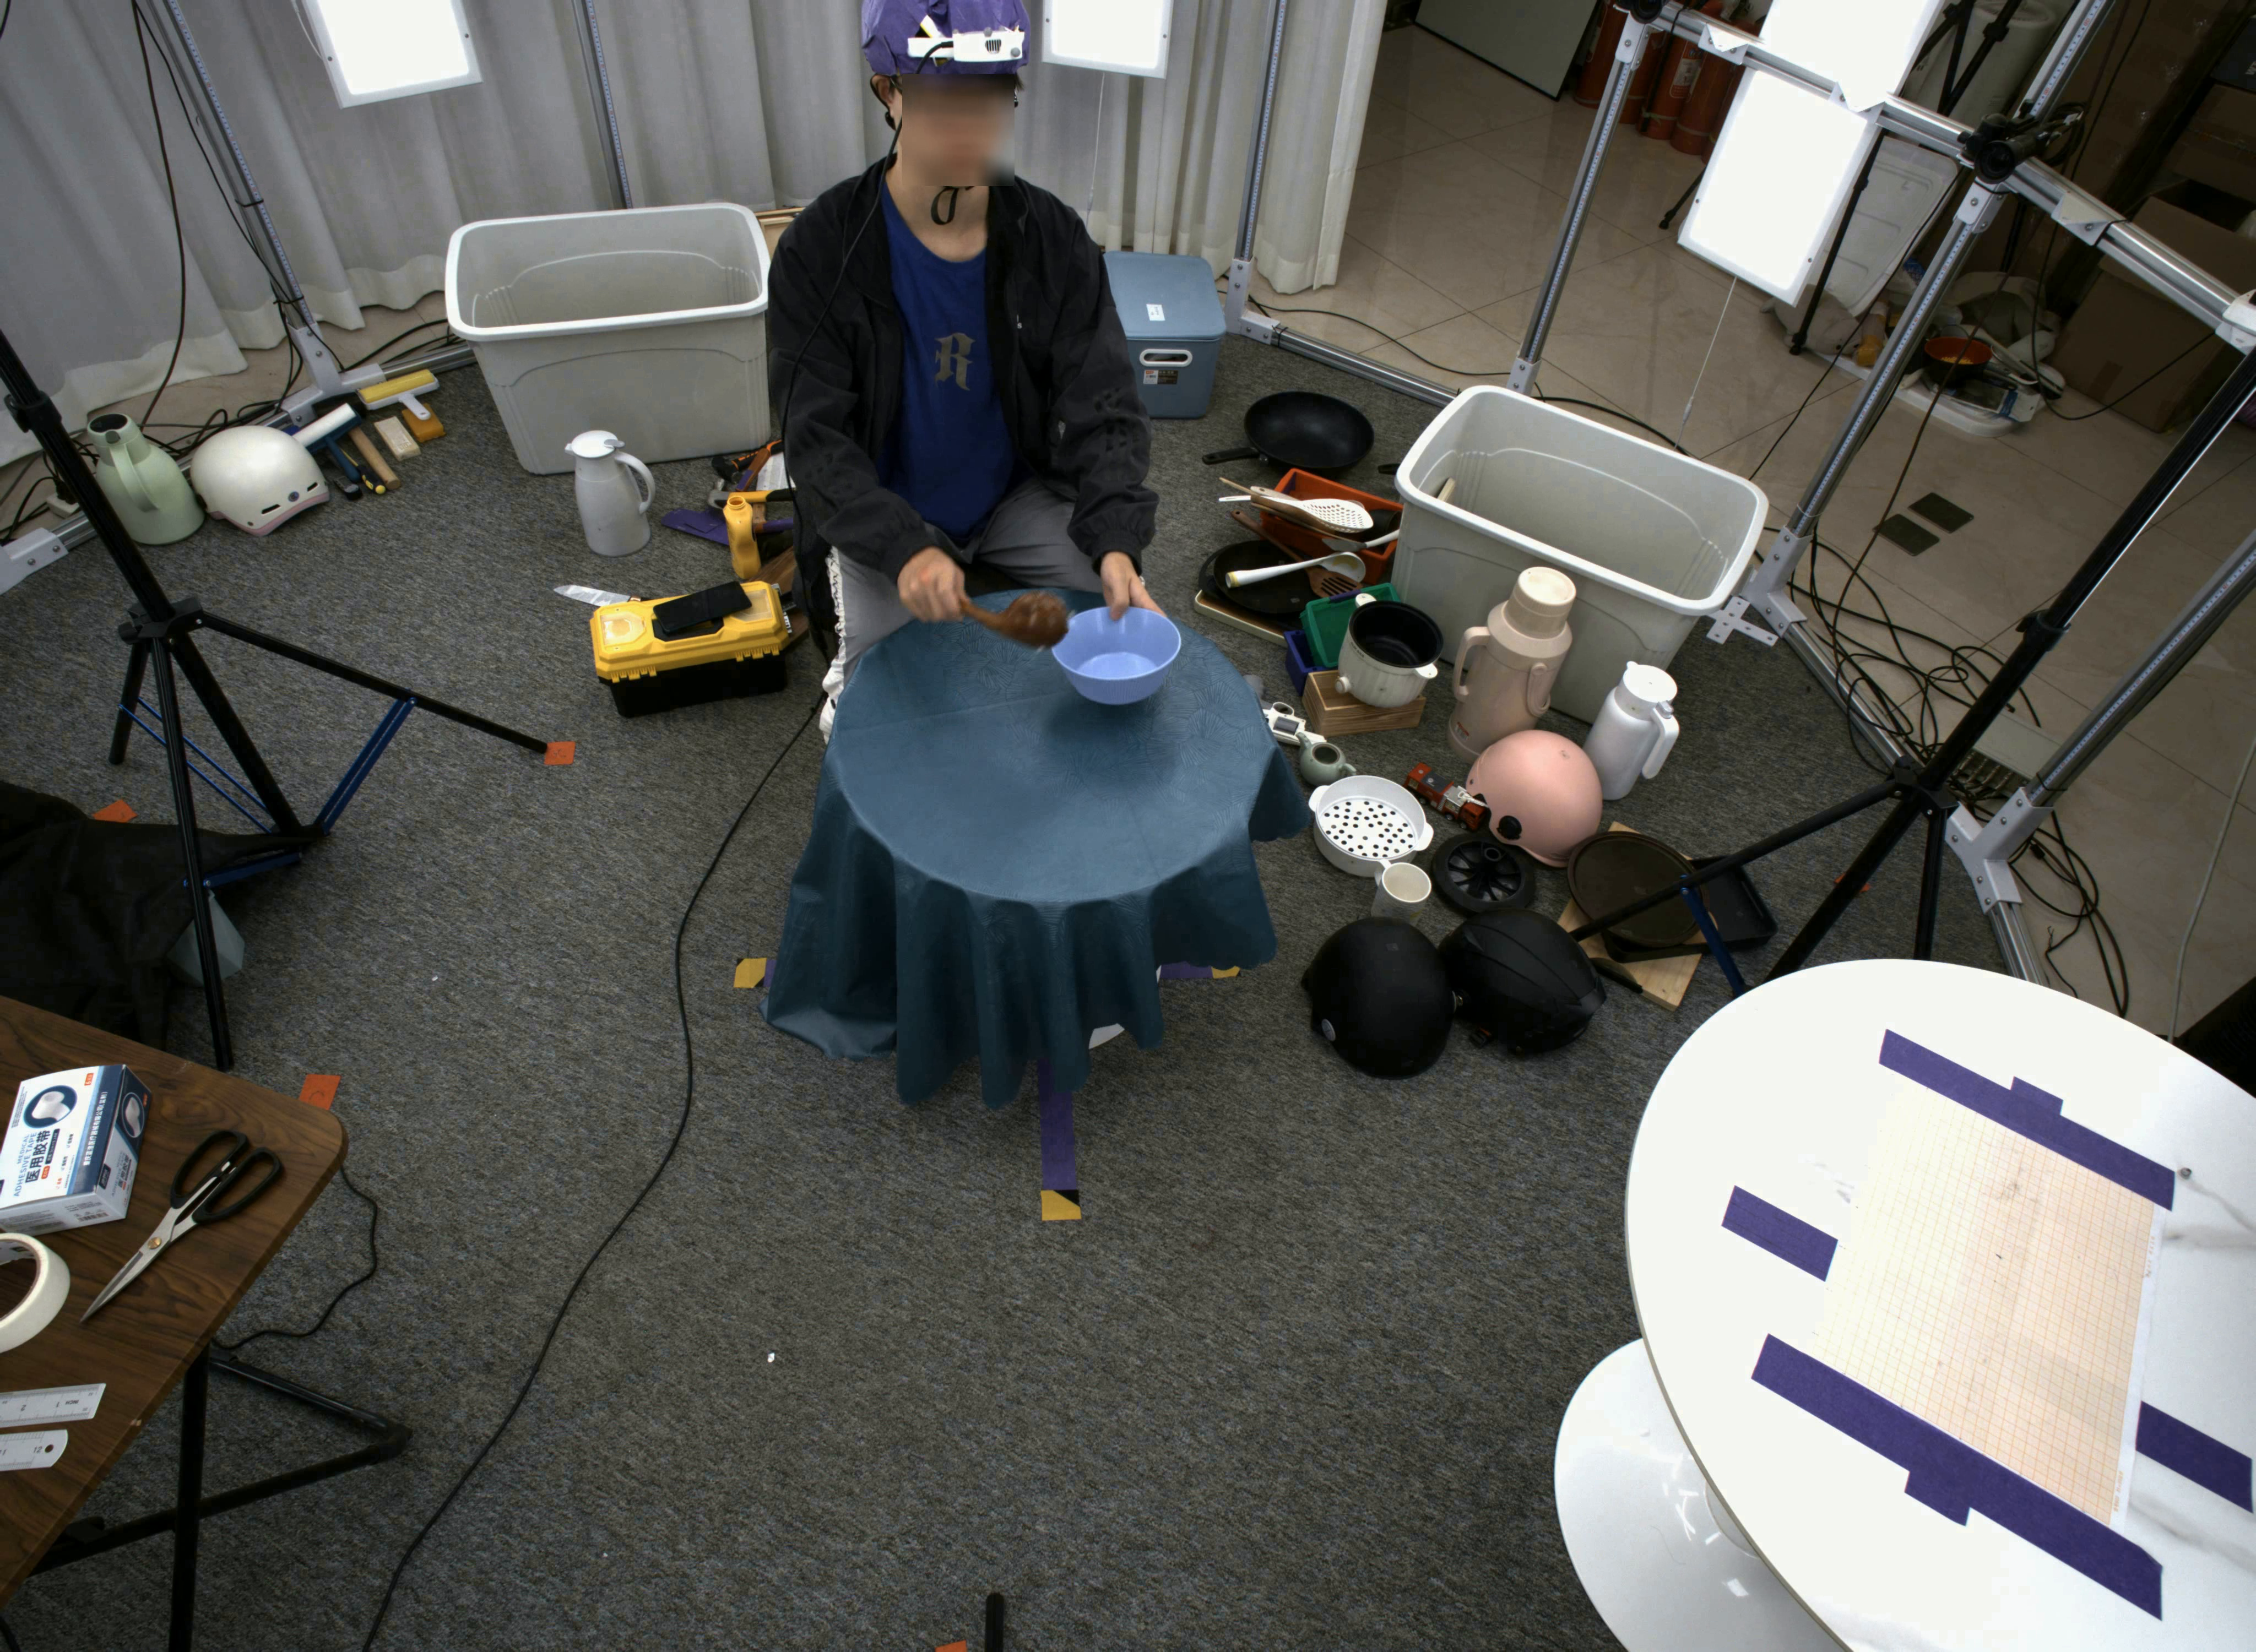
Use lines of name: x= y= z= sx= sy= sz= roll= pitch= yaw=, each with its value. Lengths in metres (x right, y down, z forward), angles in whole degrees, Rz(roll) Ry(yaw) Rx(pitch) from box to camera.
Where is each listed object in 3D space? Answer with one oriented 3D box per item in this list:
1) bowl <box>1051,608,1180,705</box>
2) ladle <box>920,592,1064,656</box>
bowl: x=-0.017 y=-0.226 z=1.761 sx=0.176 sy=0.068 sz=0.180 roll=-1 pitch=41 yaw=1
ladle: x=-0.182 y=-0.288 z=1.703 sx=0.077 sy=0.080 sz=0.278 roll=-28 pitch=34 yaw=-23
